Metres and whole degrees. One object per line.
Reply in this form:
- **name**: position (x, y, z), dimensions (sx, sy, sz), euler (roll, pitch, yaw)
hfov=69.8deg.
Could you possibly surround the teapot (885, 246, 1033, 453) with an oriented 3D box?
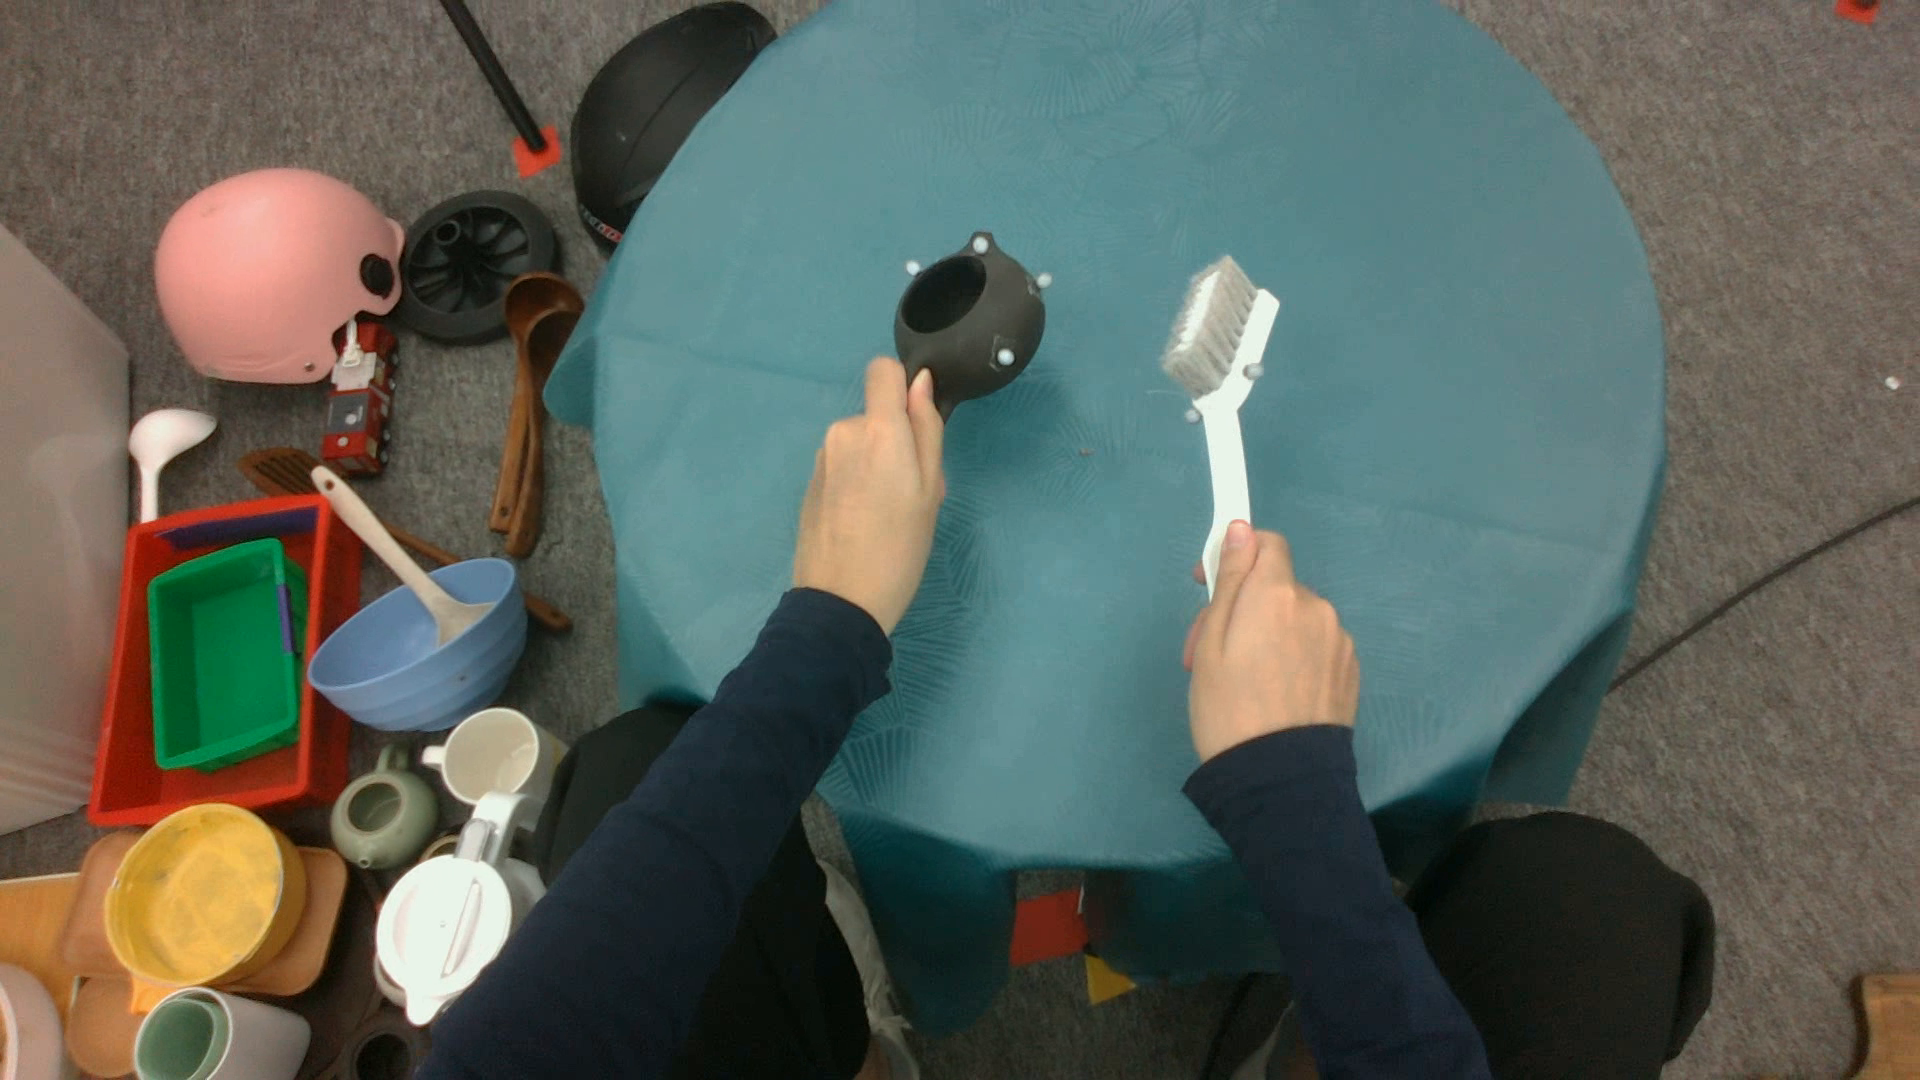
- **teapot**: position (-0.007, -0.098, 0.730), dimensions (0.083, 0.053, 0.114), euler (11, 66, 38)

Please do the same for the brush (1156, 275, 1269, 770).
- **brush**: position (0.111, -0.015, 0.659), dimensions (0.034, 0.050, 0.244), euler (-12, 62, 50)
